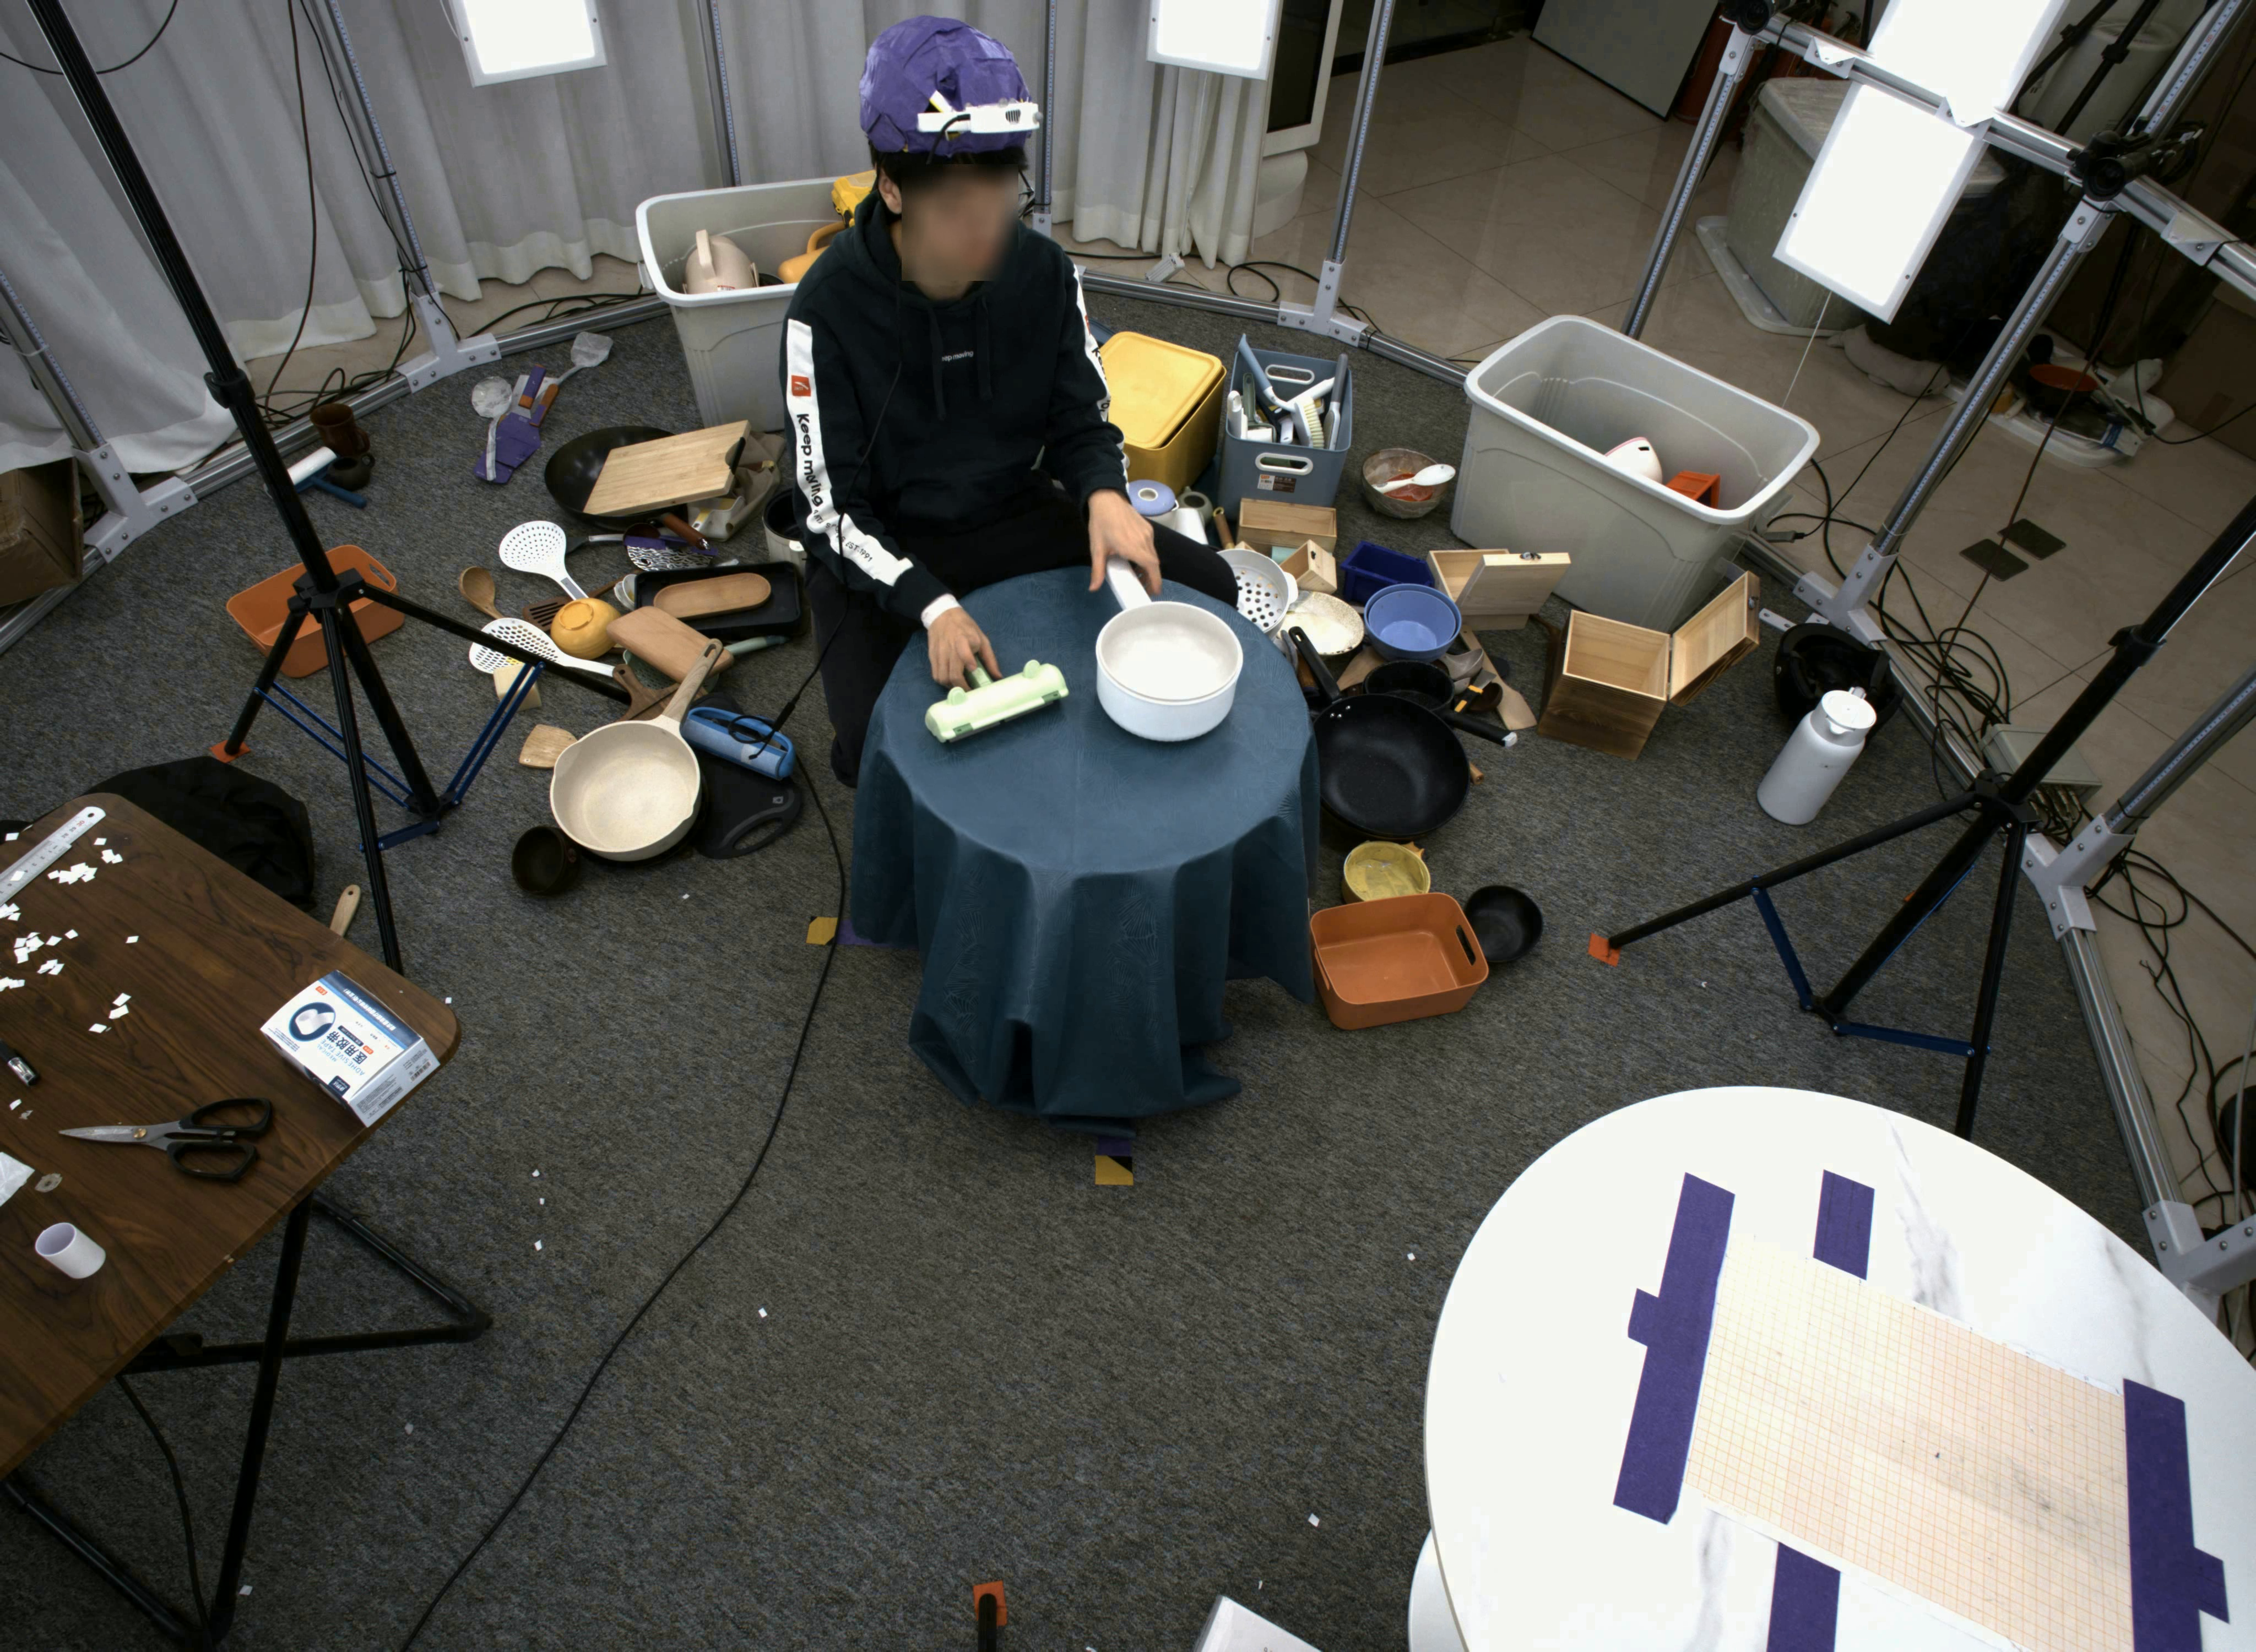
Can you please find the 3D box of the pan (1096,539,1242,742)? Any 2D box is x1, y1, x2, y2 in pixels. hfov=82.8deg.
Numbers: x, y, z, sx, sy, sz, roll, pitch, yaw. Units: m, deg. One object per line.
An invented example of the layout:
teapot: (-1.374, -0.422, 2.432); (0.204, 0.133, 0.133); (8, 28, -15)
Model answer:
pan: (0.028, -0.266, 1.838); (0.201, 0.099, 0.363); (-15, 51, -14)

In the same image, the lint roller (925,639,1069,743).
lint roller: (-0.207, -0.215, 1.792); (0.199, 0.080, 0.187); (-22, 60, -21)
